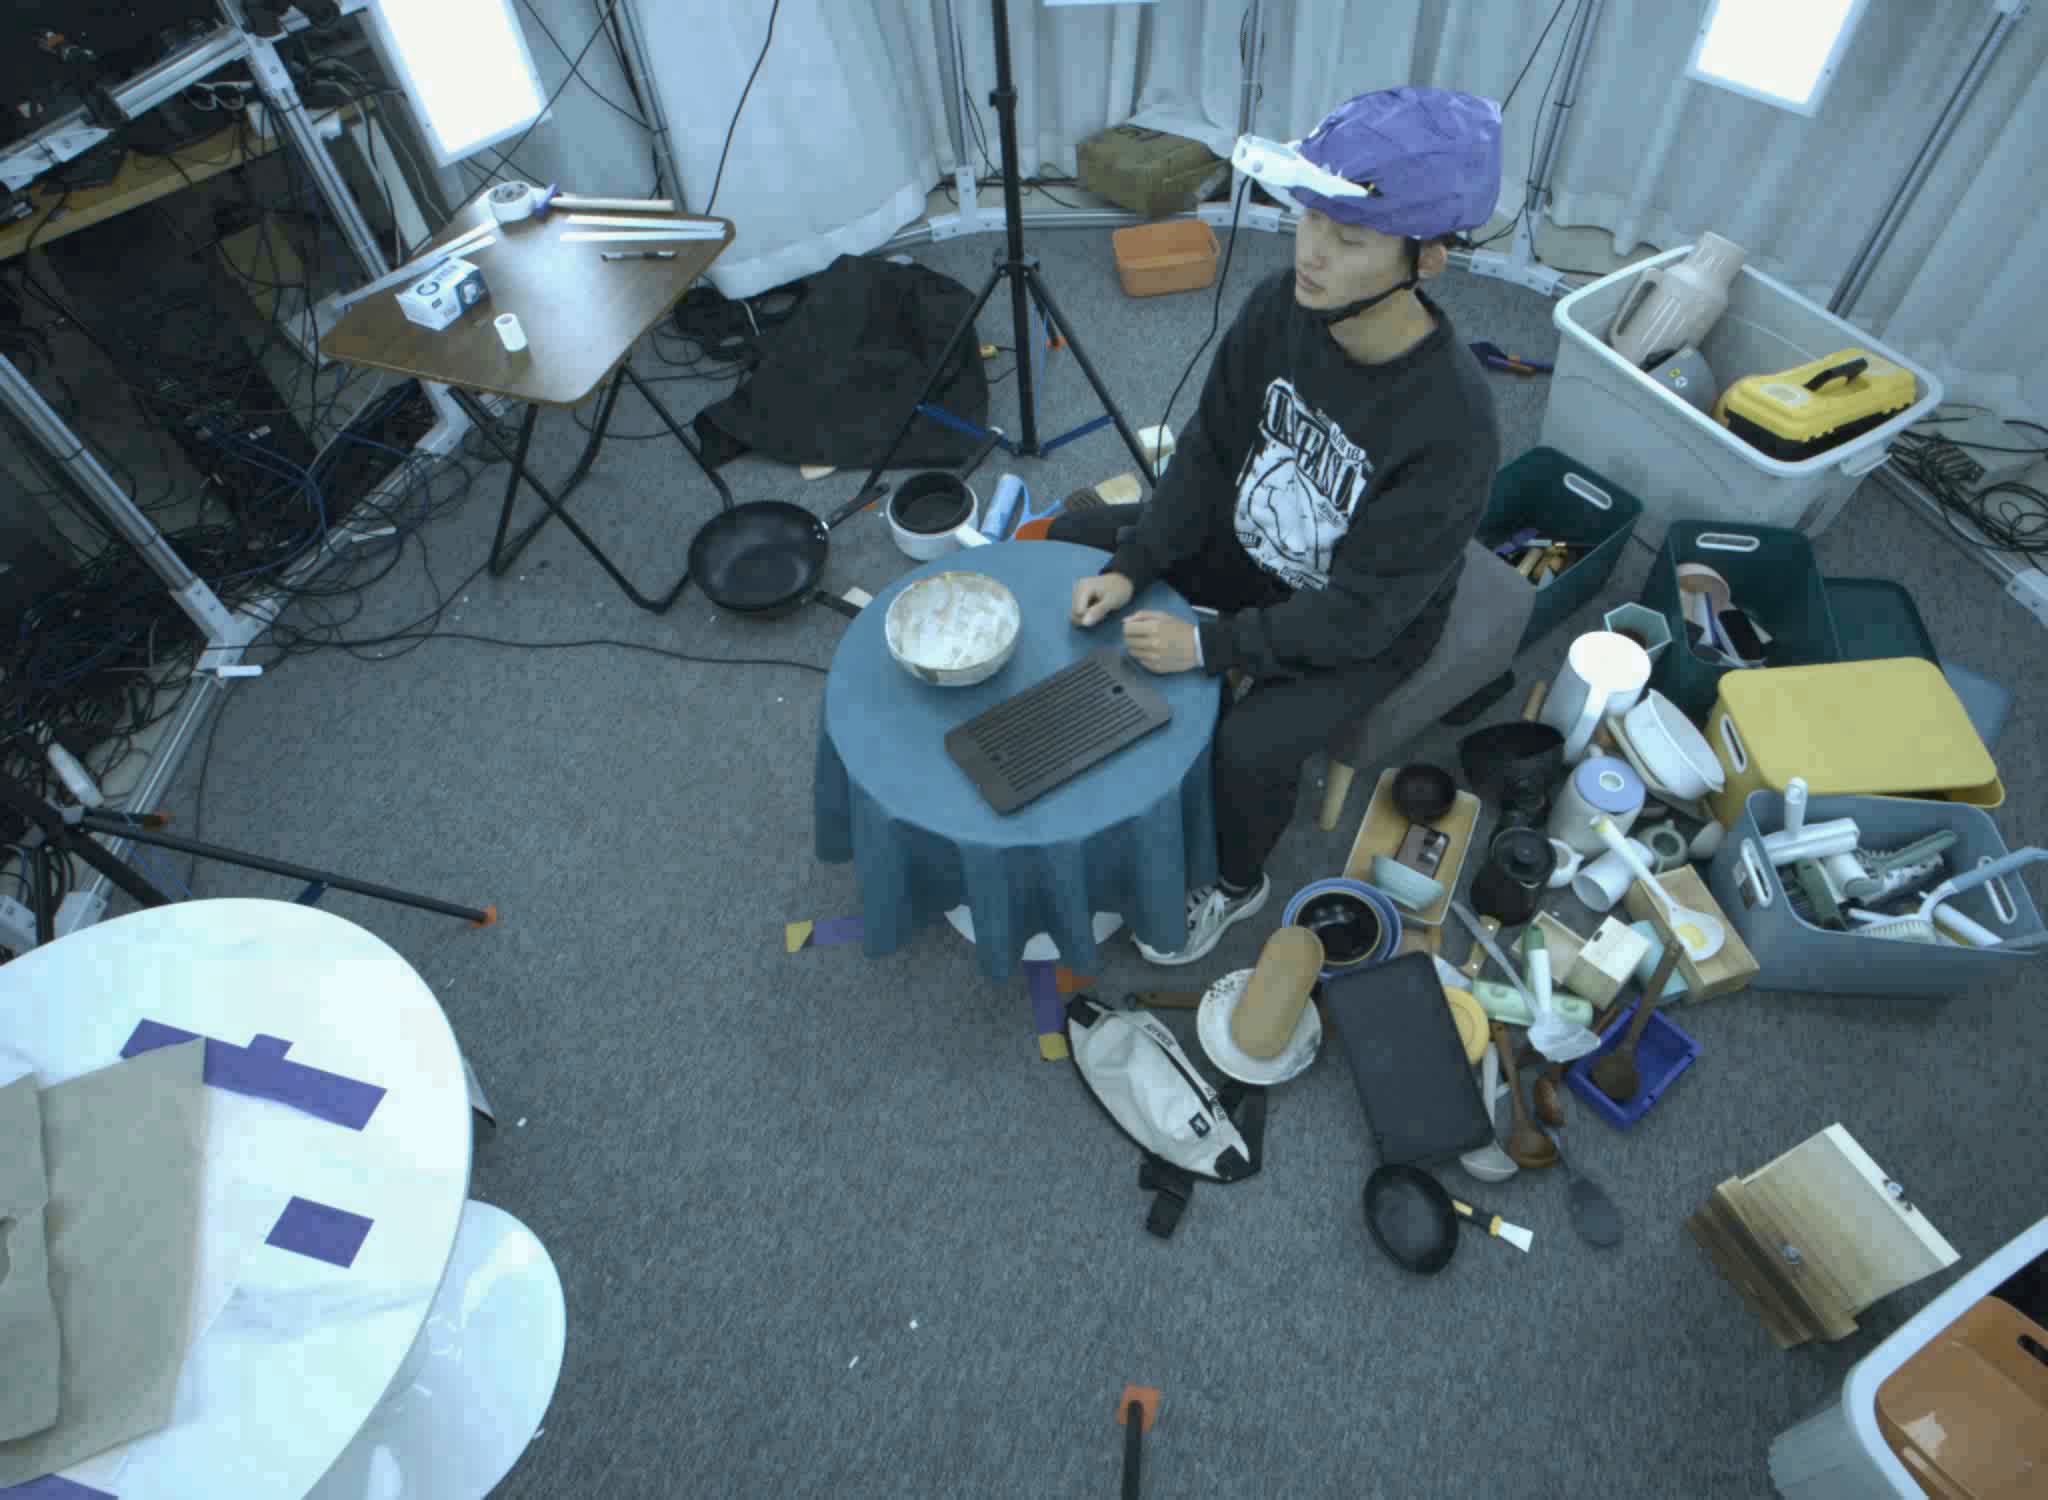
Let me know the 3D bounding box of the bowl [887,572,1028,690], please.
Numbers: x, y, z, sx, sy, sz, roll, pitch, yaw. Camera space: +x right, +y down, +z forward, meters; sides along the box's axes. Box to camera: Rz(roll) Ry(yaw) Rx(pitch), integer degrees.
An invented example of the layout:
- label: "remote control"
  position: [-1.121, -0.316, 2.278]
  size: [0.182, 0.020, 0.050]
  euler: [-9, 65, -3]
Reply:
- label: "bowl"
  position: [-0.097, -0.162, 1.858]
  size: [0.214, 0.095, 0.212]
  euler: [-1, 54, 2]

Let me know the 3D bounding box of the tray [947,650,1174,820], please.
- label: "tray"
  position: [0.054, -0.025, 1.803]
  size: [0.308, 0.019, 0.167]
  euler: [-30, 59, -18]
